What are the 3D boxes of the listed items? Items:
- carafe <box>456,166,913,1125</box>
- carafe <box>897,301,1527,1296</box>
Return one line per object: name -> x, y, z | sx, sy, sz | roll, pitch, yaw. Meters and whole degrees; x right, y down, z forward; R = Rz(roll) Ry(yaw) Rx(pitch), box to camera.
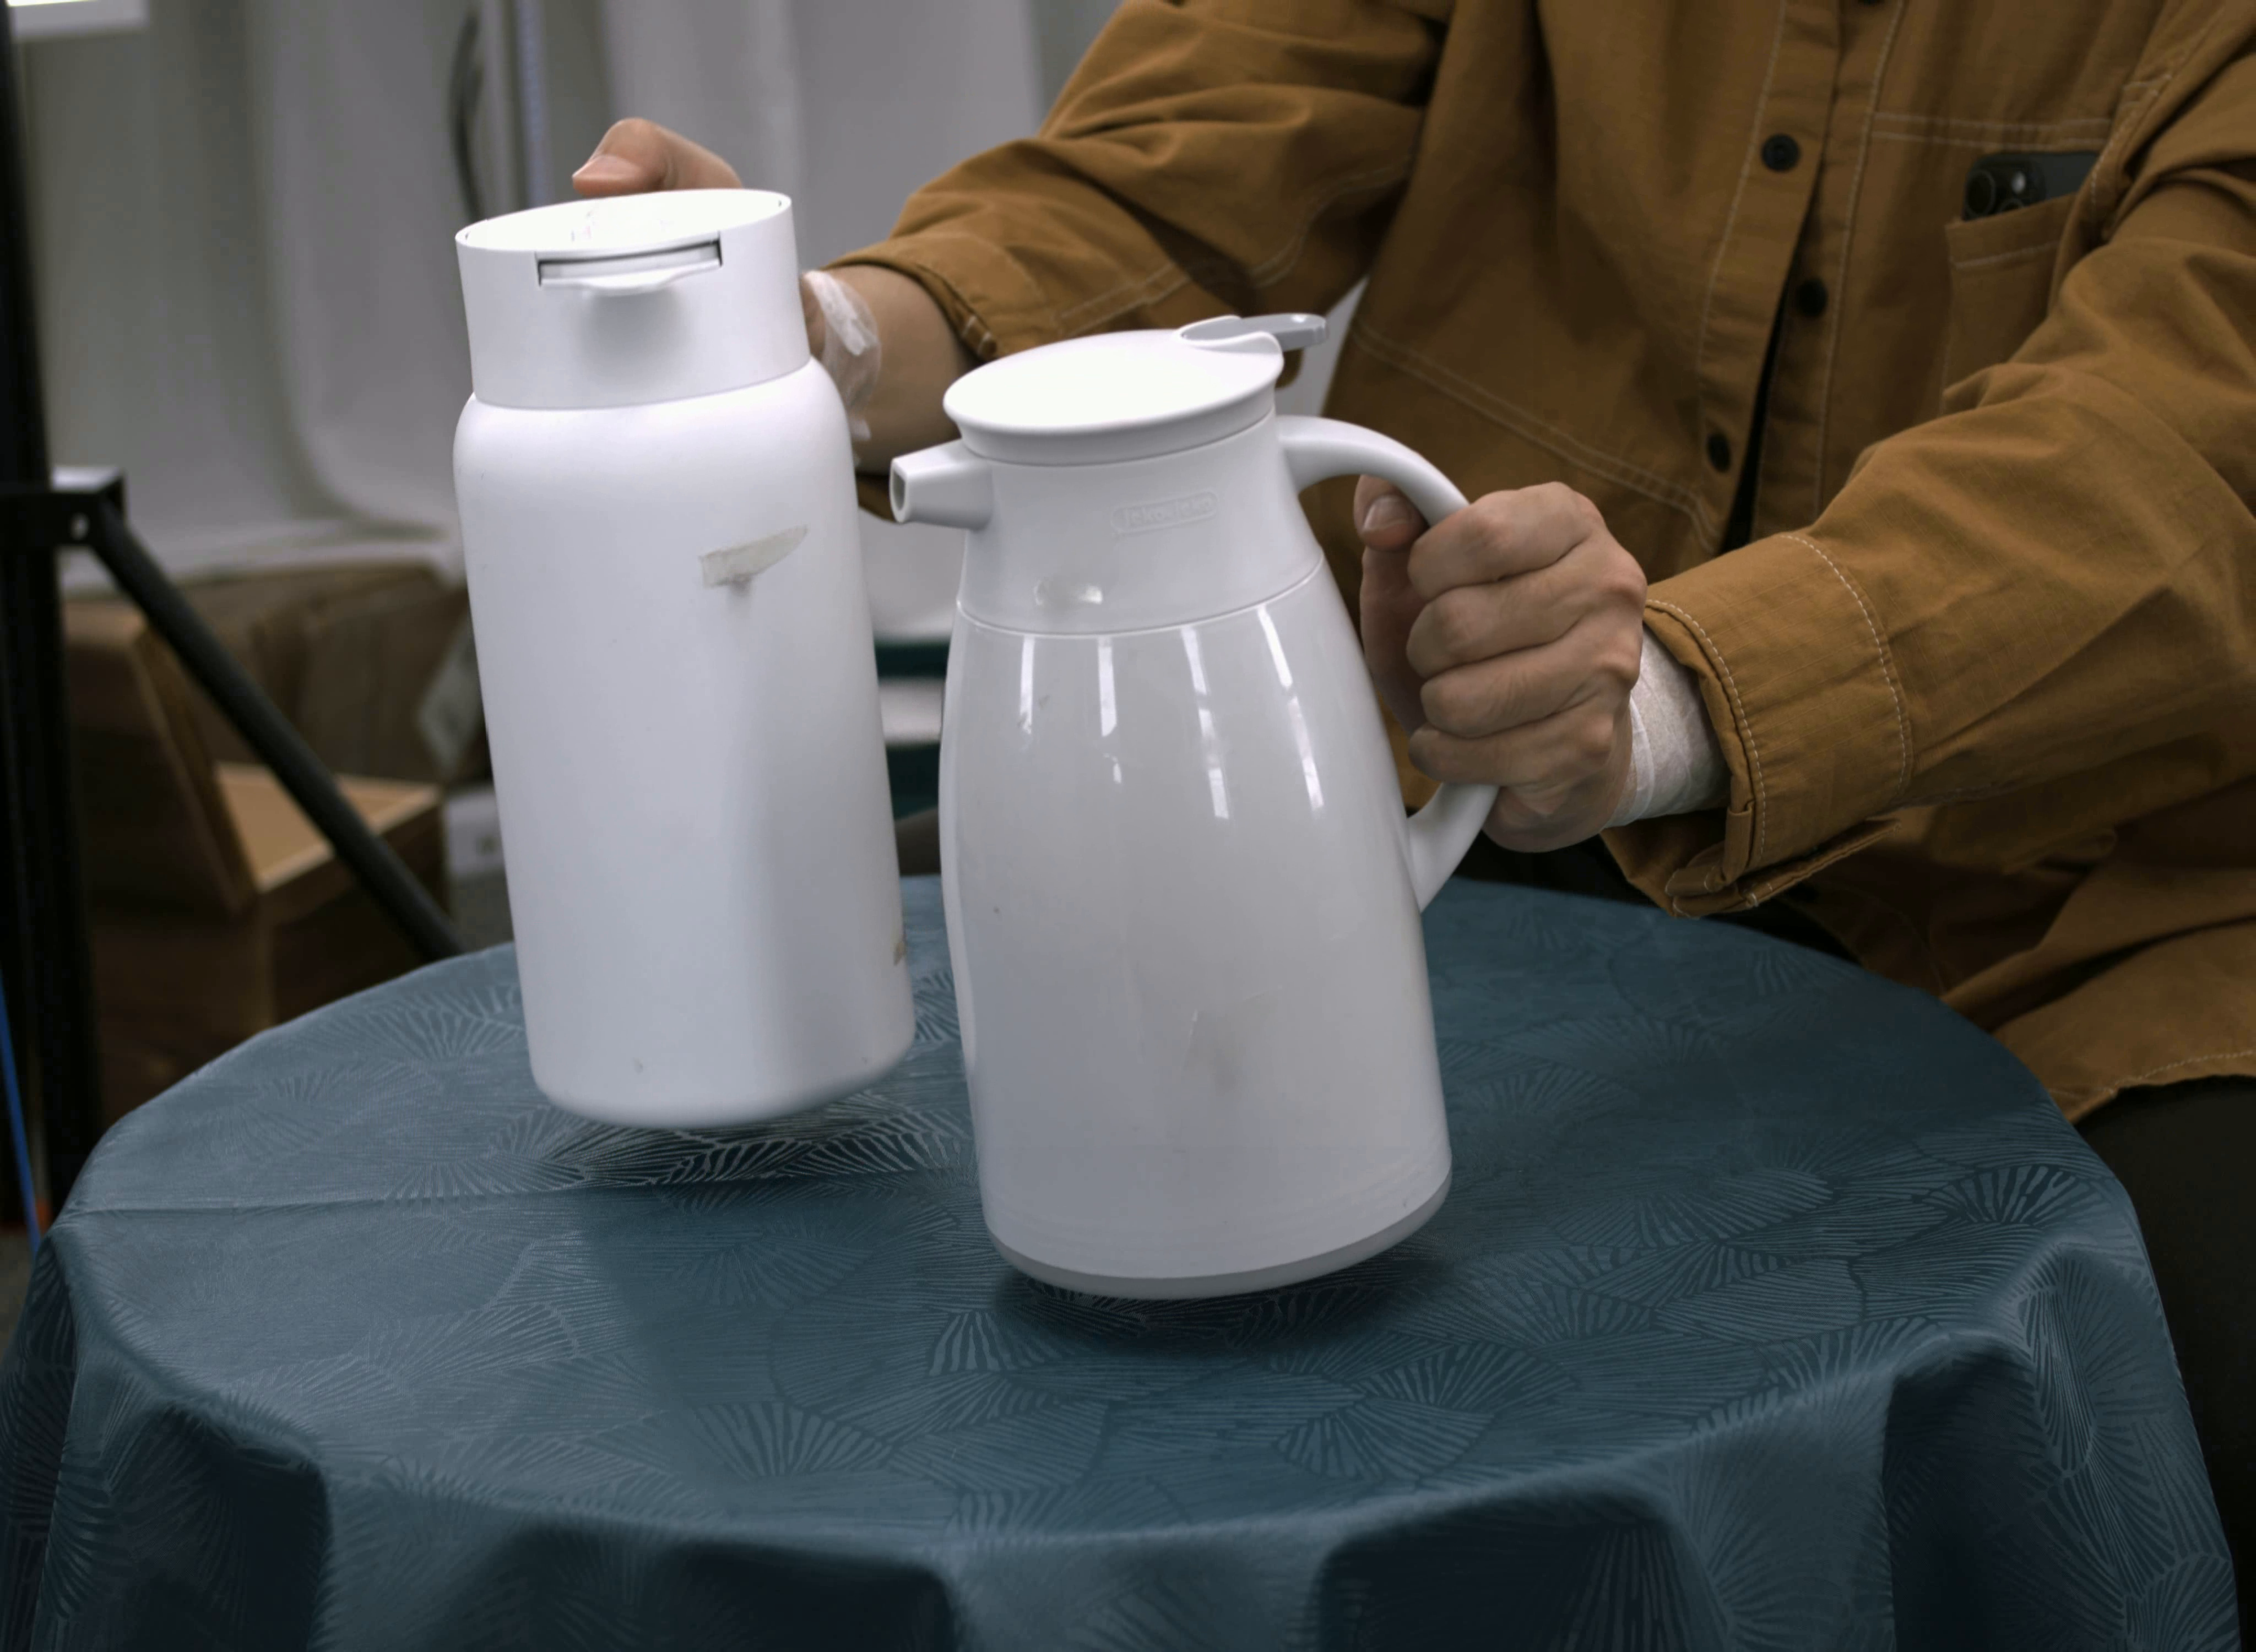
carafe -> -0.137, -0.057, 1.598 | 0.123, 0.269, 0.174 | -9, 14, -4
carafe -> 0.029, -0.016, 1.445 | 0.165, 0.248, 0.134 | -11, 19, -12
